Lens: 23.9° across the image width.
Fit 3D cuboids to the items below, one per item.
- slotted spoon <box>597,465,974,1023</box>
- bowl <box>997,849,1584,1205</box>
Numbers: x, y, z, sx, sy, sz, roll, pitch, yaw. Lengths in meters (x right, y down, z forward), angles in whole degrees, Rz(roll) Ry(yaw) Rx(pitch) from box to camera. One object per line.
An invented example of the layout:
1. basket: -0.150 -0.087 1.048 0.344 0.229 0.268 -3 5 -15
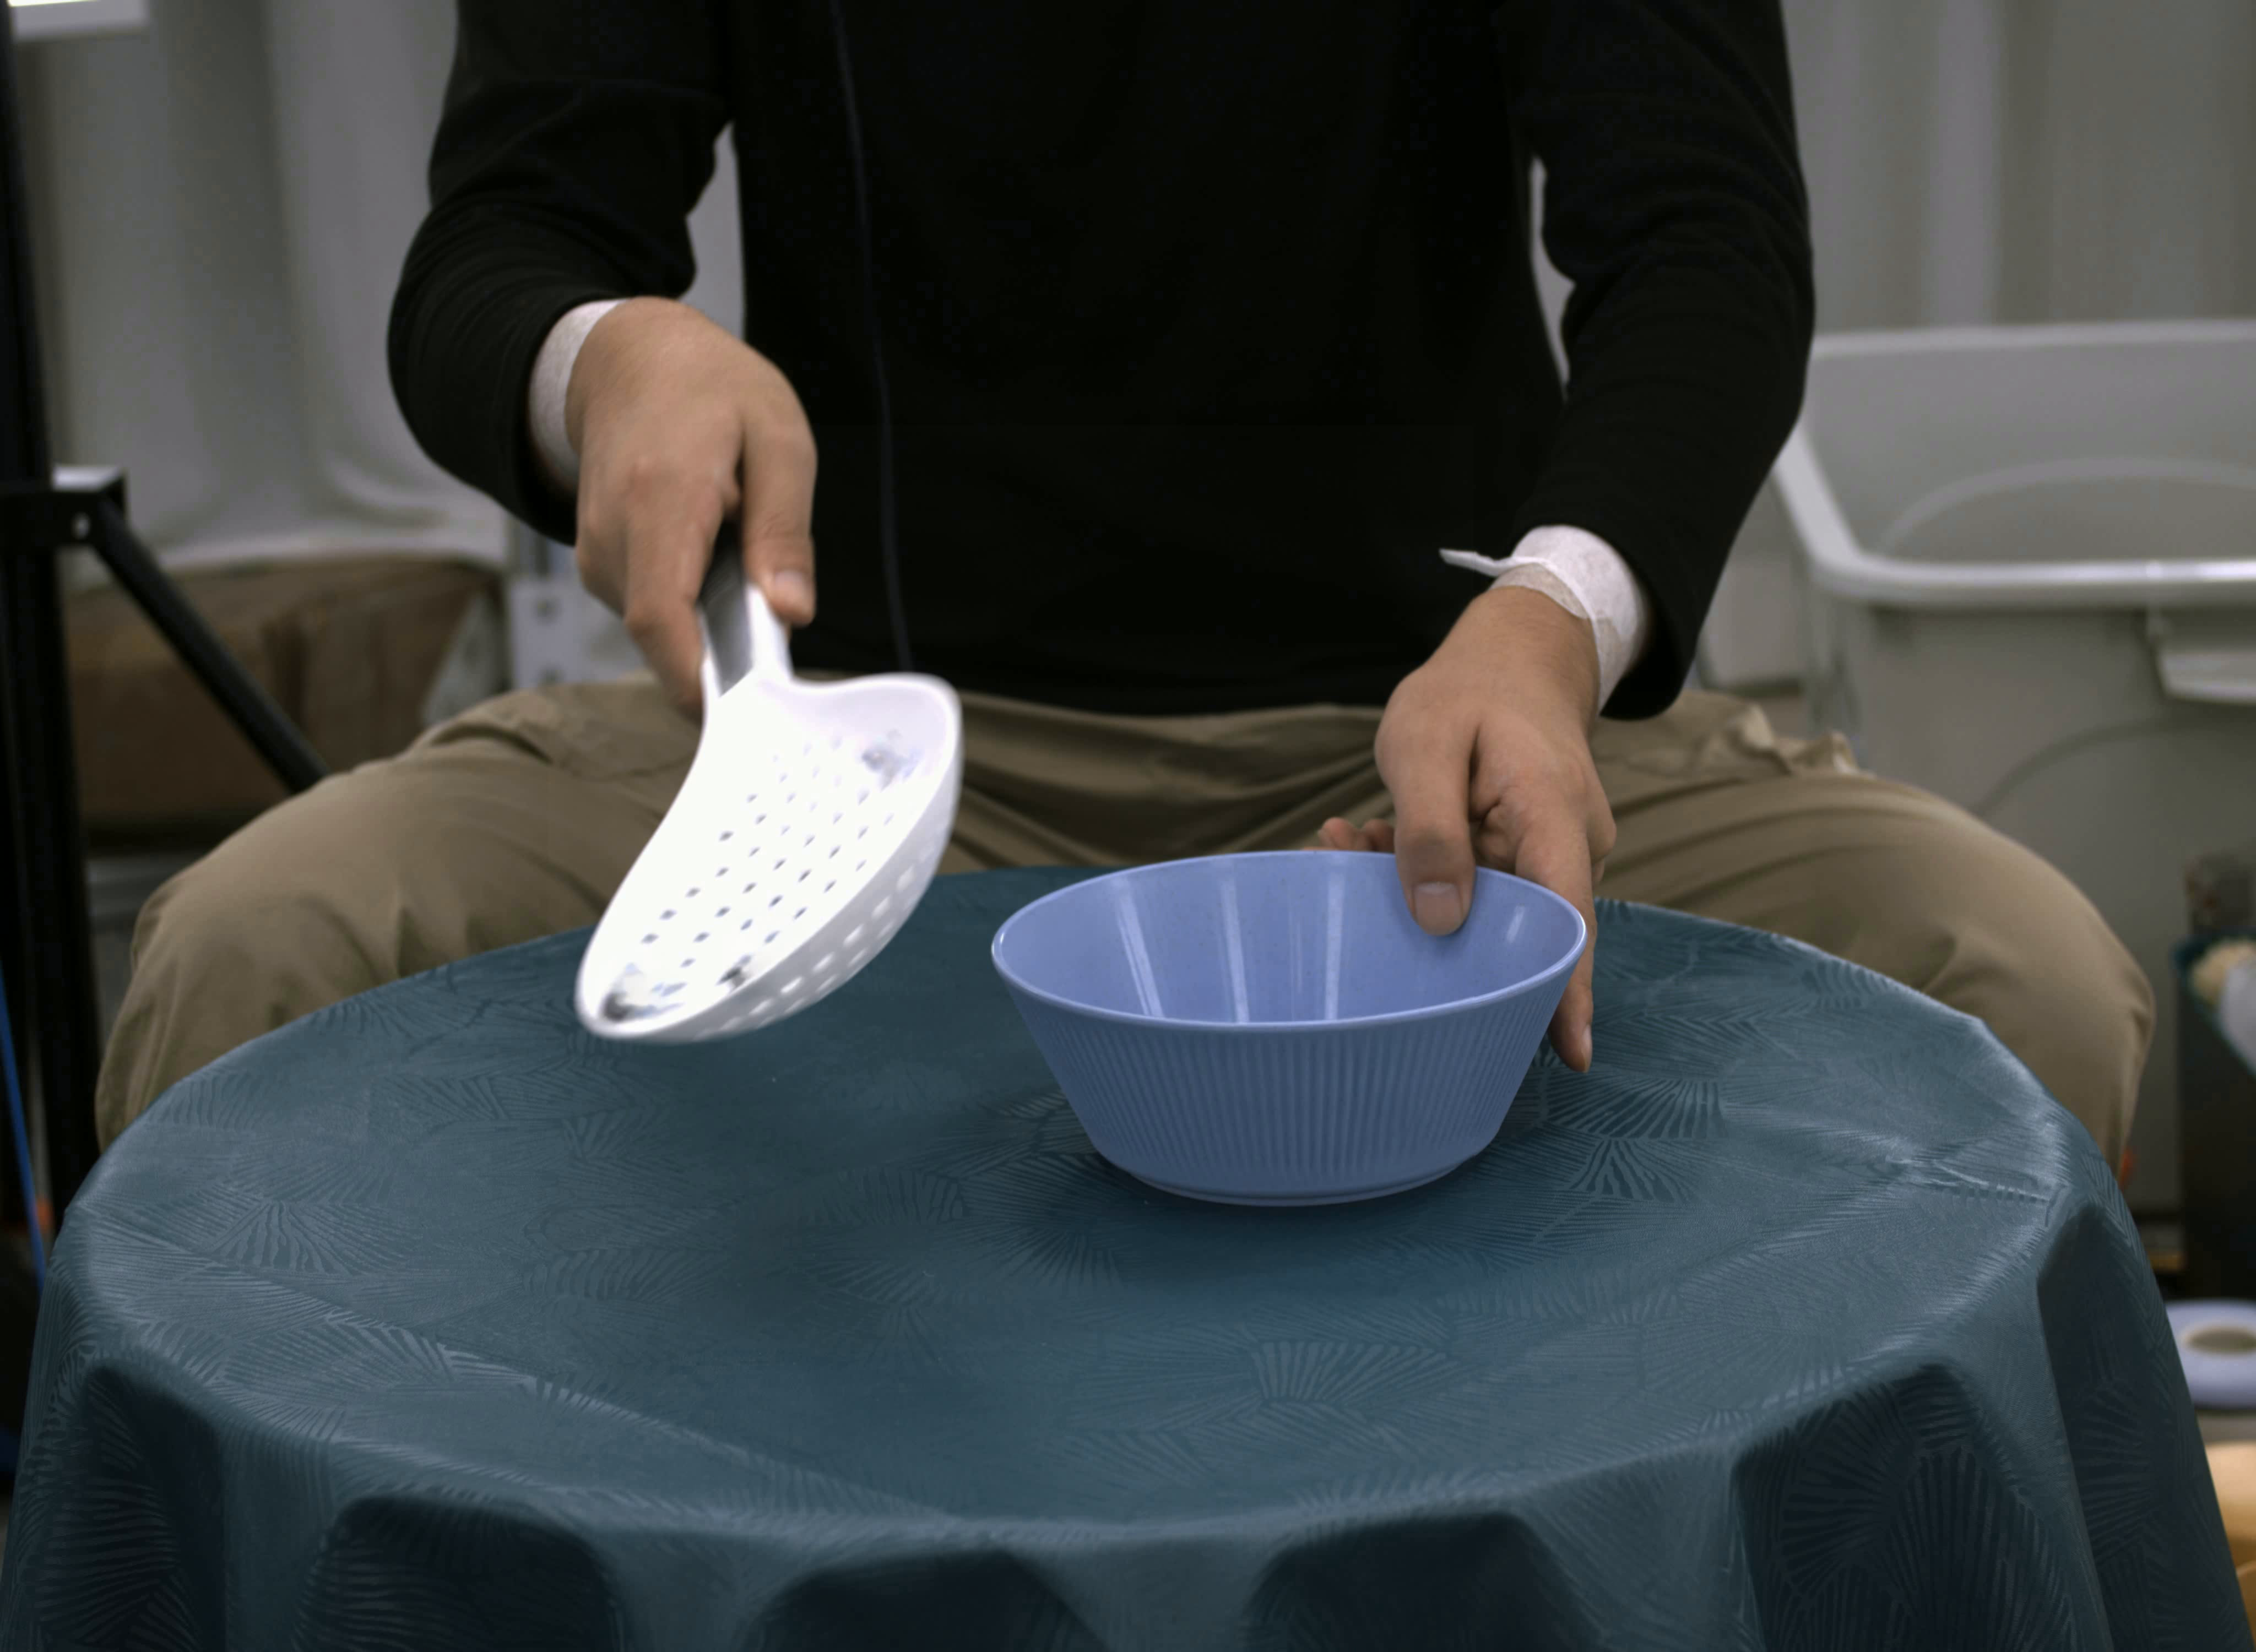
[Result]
1. slotted spoon: -0.108 -0.036 1.590 0.136 0.045 0.355 -40 28 9
2. bowl: 0.049 0.062 1.580 0.175 0.070 0.177 -2 15 -1
